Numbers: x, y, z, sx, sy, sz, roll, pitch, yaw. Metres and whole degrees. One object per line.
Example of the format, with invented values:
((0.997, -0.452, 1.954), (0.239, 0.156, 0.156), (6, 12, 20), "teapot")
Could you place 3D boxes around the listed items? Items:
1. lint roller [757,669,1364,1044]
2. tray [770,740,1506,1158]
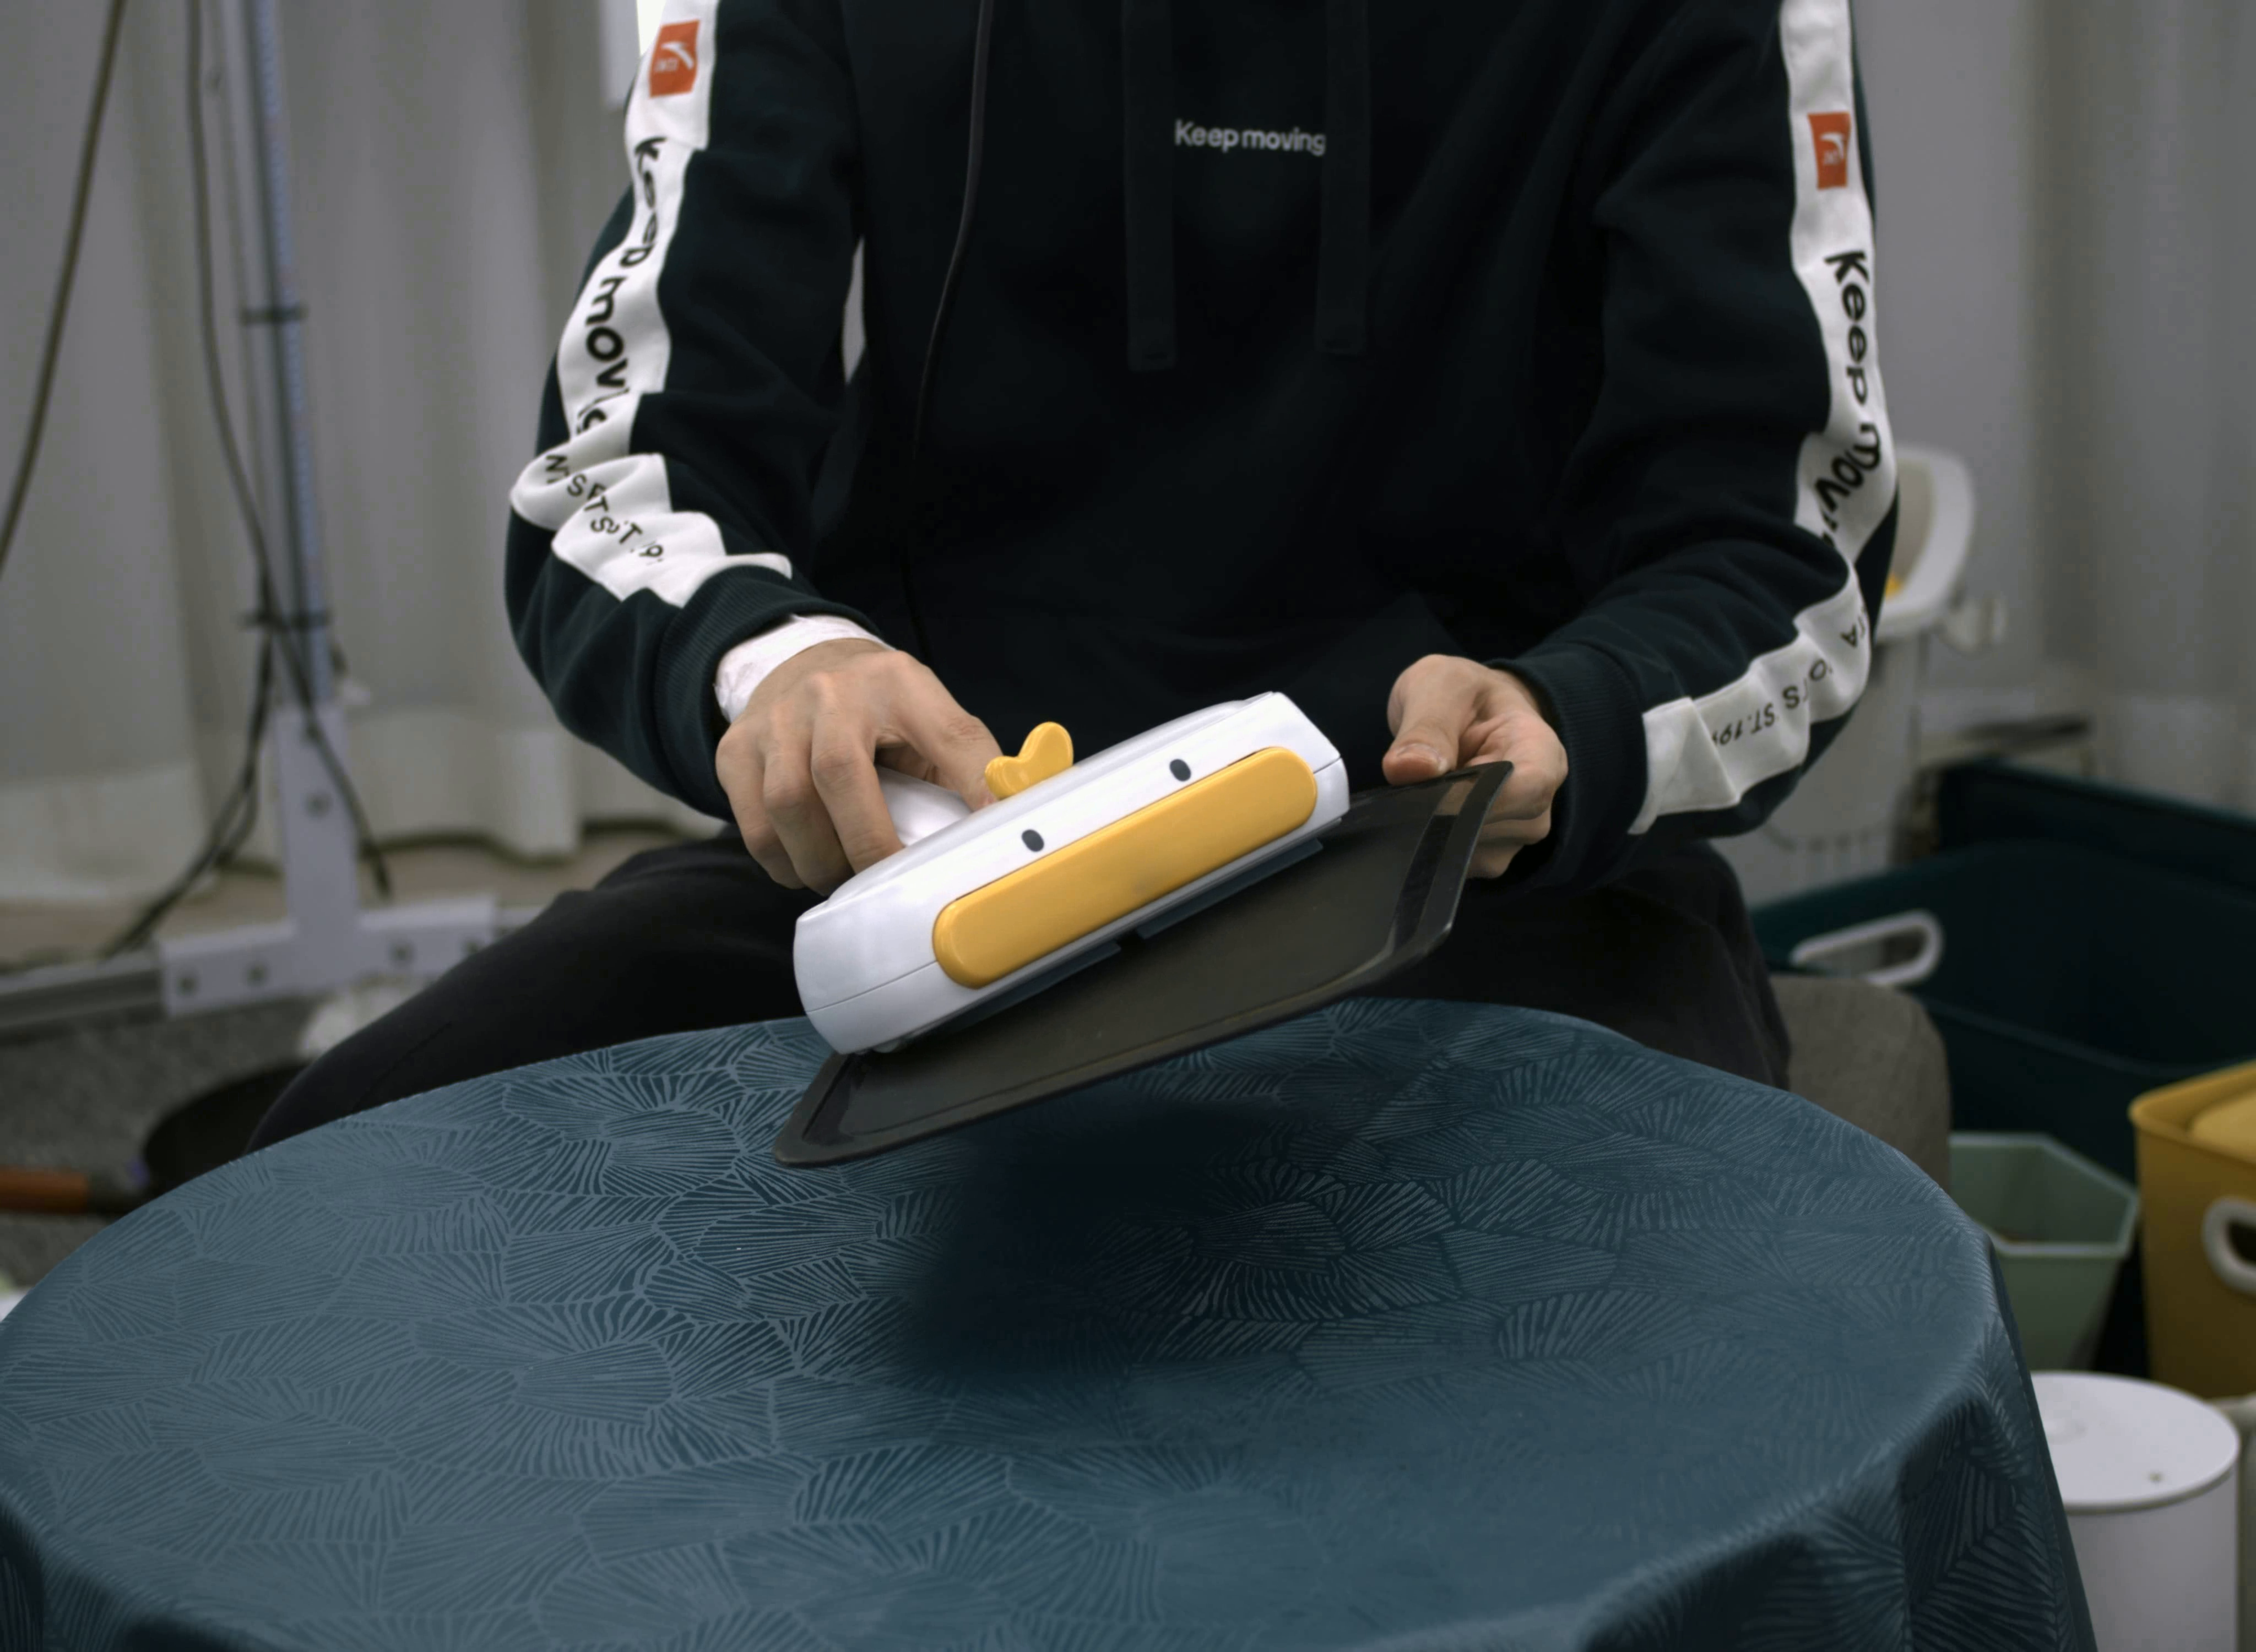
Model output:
((-0.048, 0.007, 1.721), (0.193, 0.074, 0.192), (-33, 15, -33), "lint roller")
((0.009, 0.031, 1.676), (0.210, 0.010, 0.327), (-19, 10, 12), "tray")
